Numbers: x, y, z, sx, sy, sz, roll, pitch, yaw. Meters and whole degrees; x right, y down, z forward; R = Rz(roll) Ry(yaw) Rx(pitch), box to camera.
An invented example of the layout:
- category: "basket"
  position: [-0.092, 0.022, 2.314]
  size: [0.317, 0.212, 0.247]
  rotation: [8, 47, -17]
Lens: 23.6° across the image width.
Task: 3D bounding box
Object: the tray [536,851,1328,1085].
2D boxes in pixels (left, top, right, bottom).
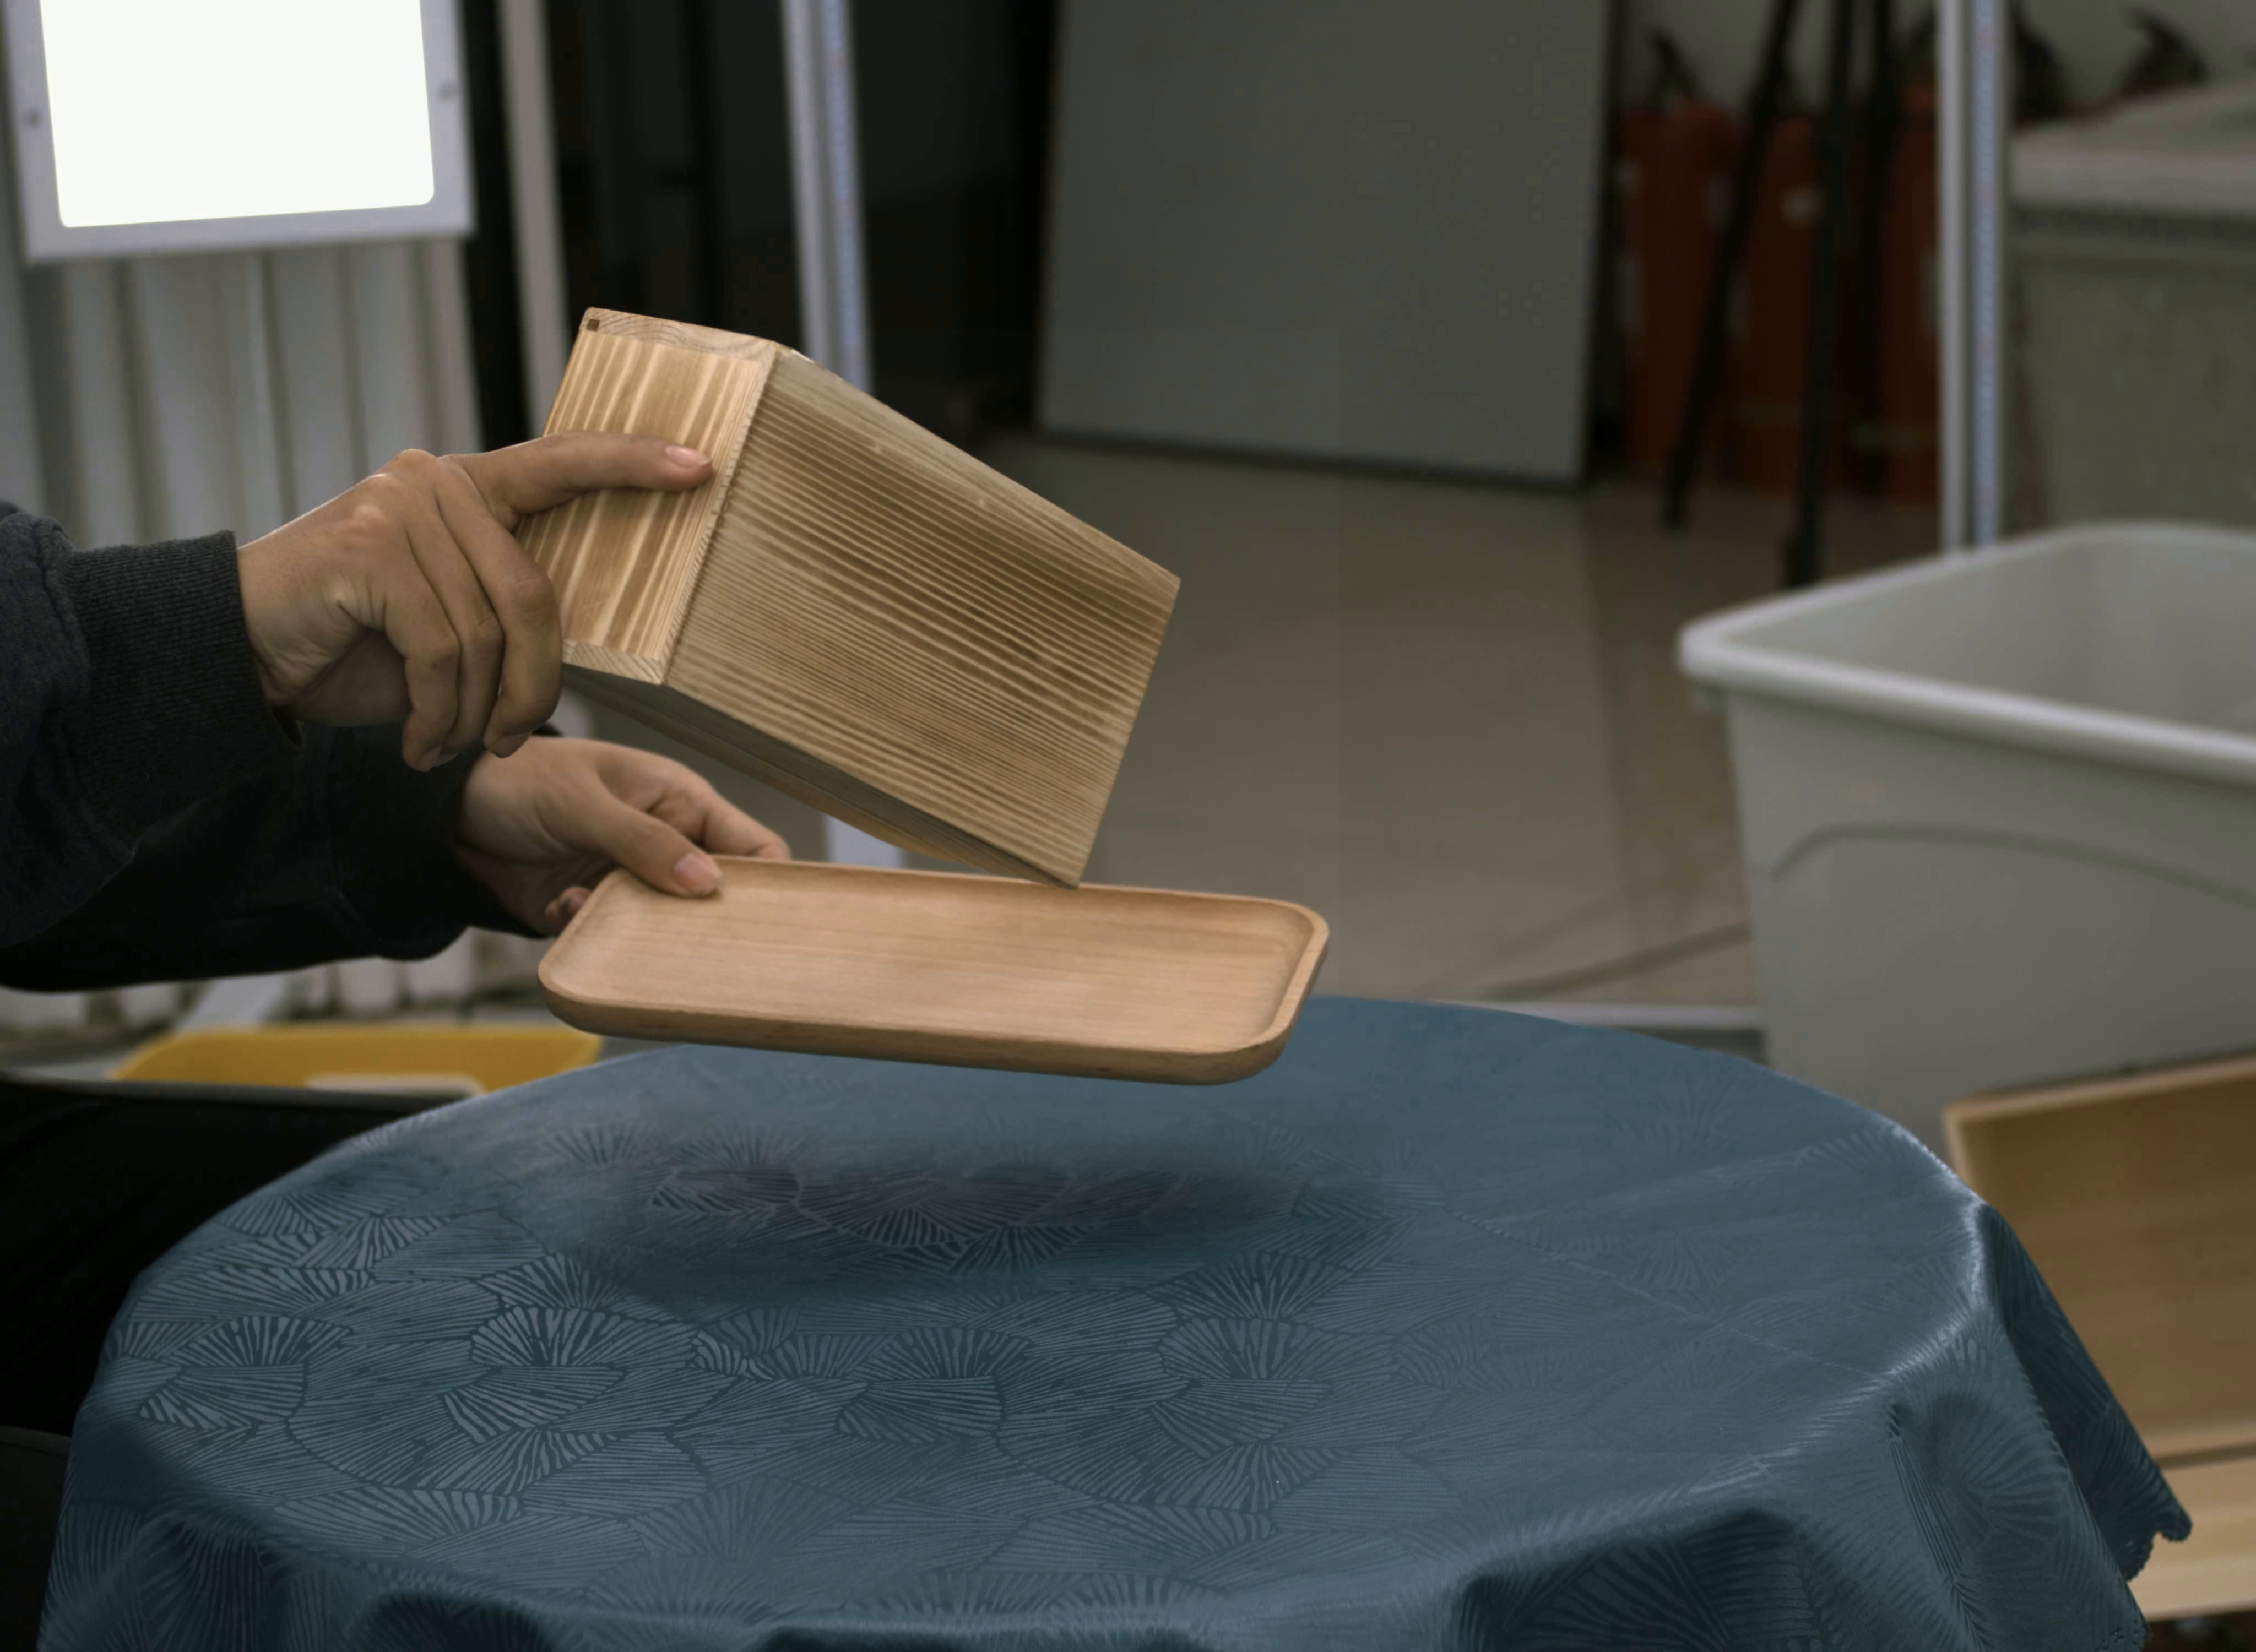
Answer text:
- category: "tray"
  position: [-0.063, 0.046, 1.761]
  size: [0.249, 0.023, 0.130]
  rotation: [4, 20, 13]

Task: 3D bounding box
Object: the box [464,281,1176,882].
- category: "box"
  position: [-0.088, -0.070, 1.622]
  size: [0.081, 0.108, 0.208]
  rotation: [13, -11, 39]
